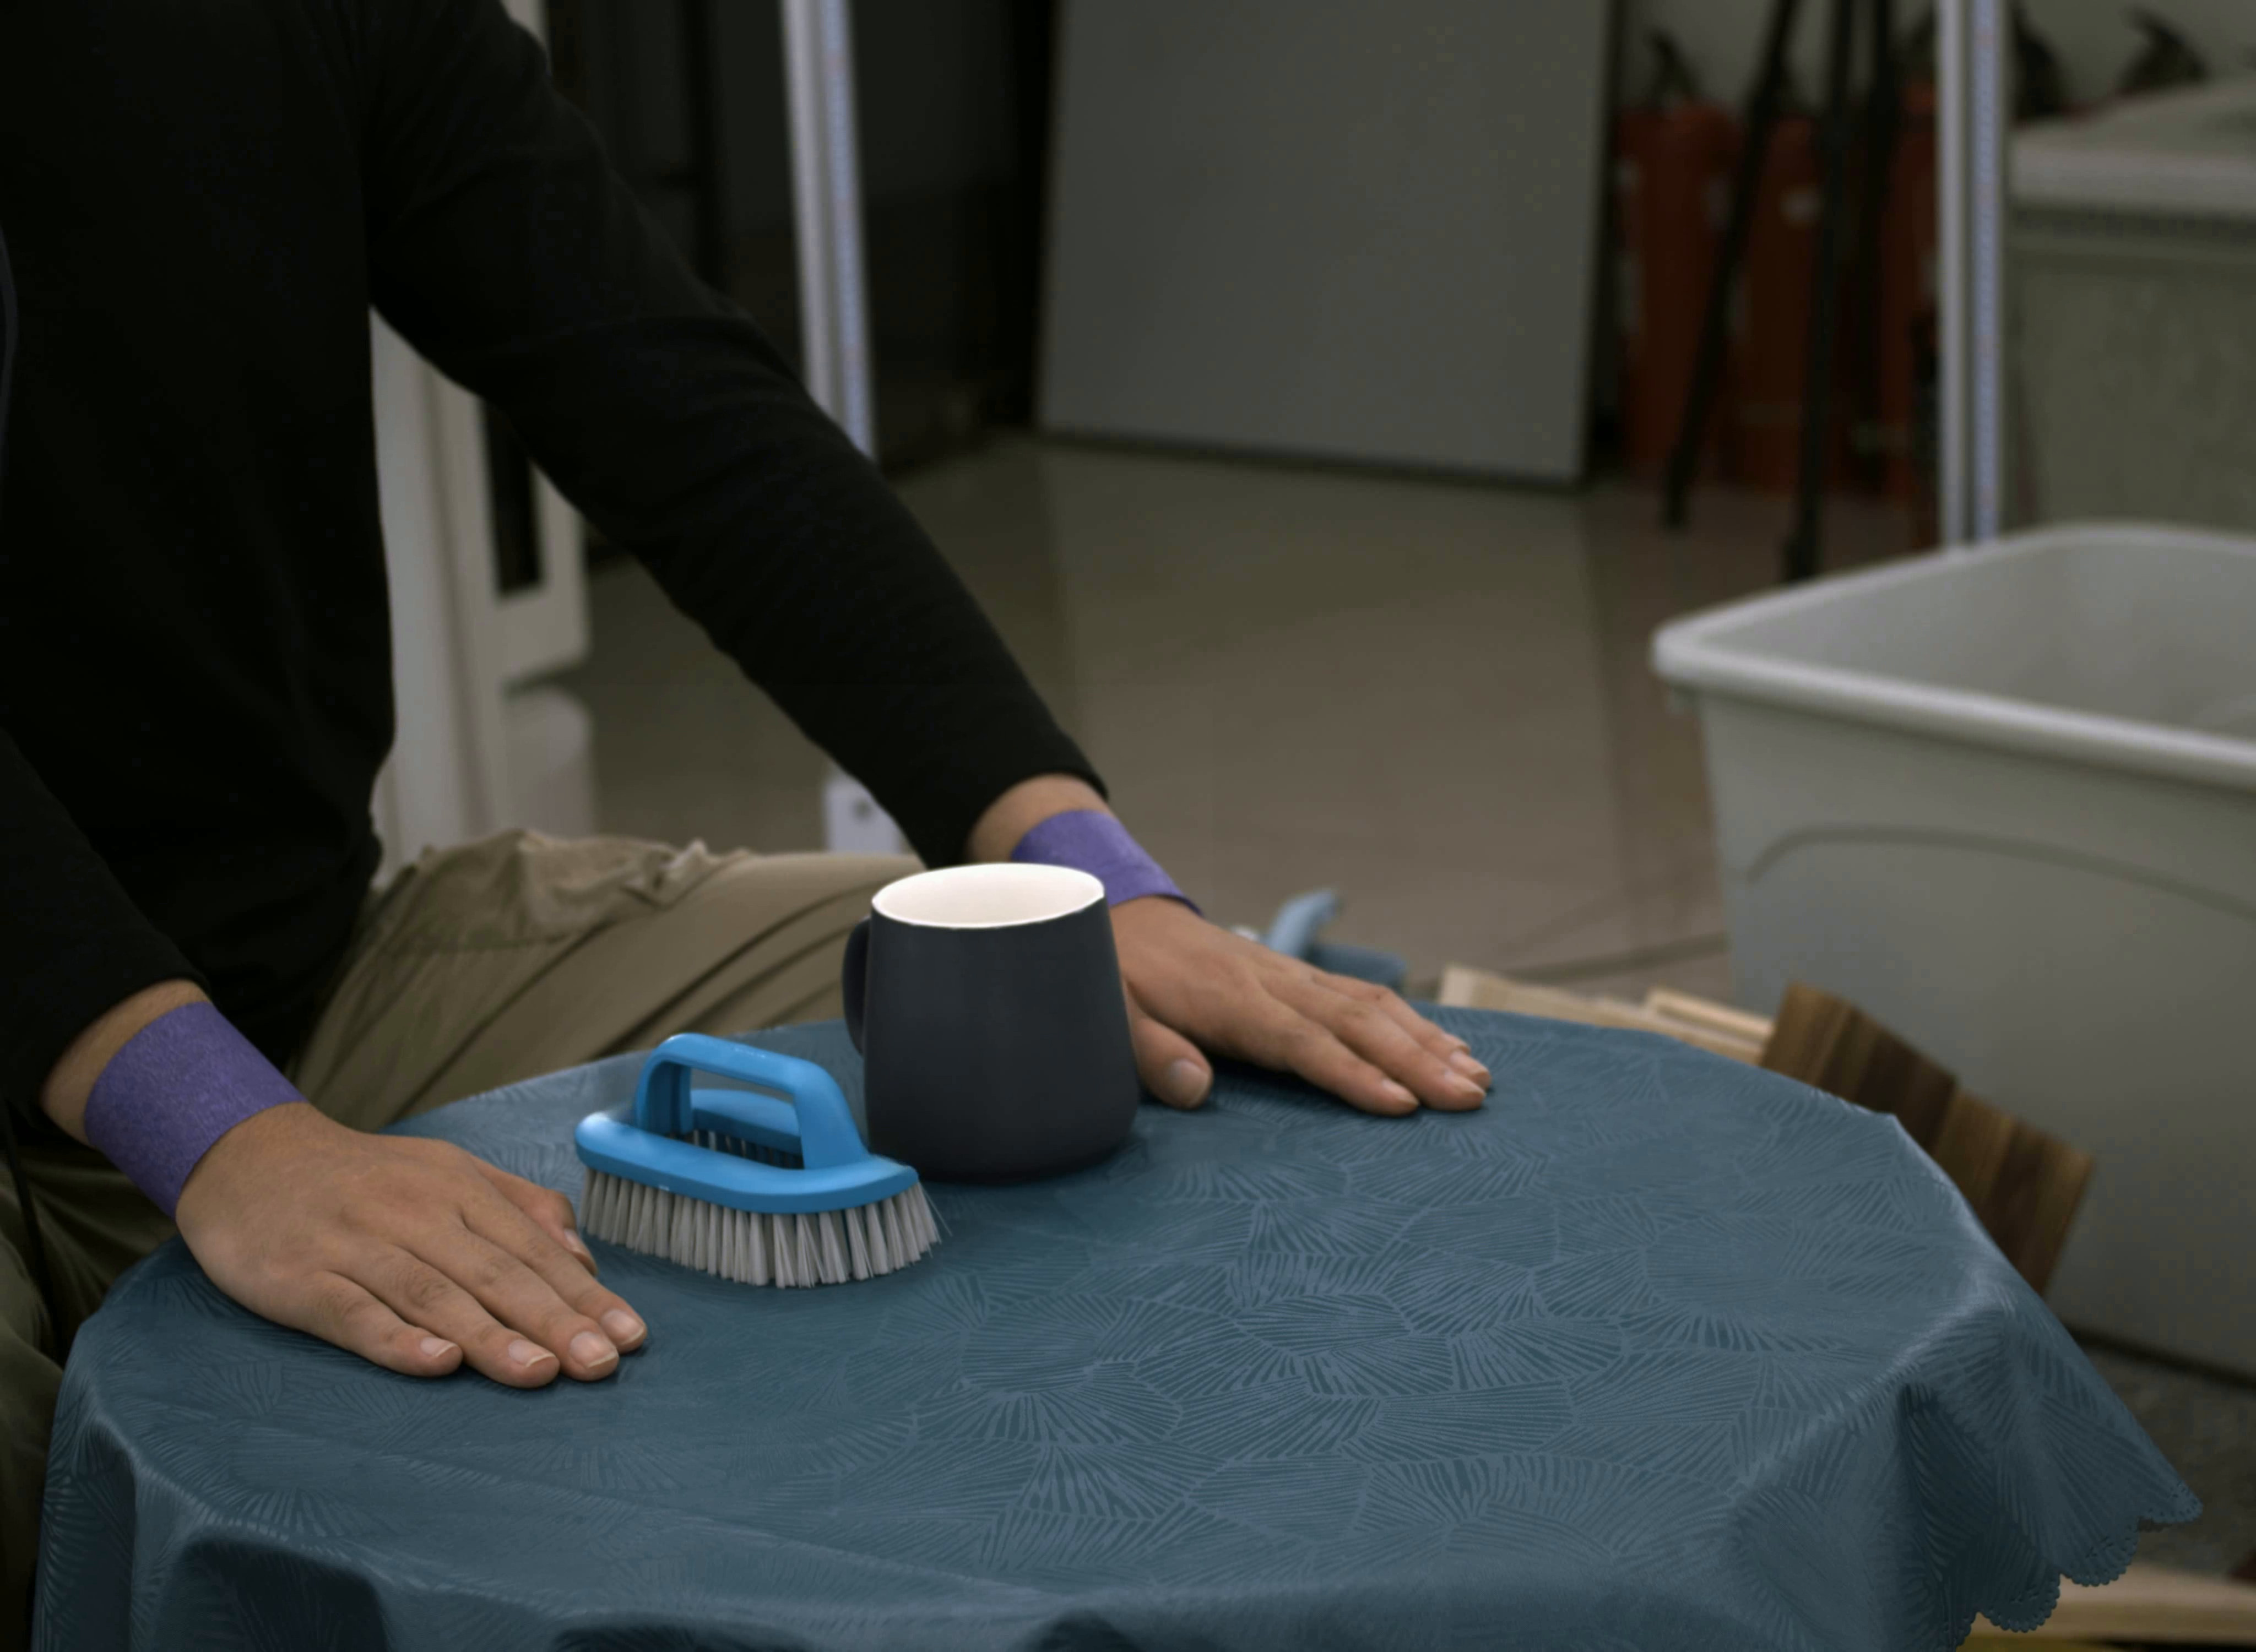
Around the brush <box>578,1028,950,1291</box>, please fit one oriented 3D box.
[{"bbox_3d":[-0.122,0.101,1.748,0.082,0.064,0.143,-21,20,-38],"label":"brush"}]

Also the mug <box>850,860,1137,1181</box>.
[{"bbox_3d":[-0.053,0.062,1.824,0.091,0.091,0.124,-13,18,-36],"label":"mug"}]
